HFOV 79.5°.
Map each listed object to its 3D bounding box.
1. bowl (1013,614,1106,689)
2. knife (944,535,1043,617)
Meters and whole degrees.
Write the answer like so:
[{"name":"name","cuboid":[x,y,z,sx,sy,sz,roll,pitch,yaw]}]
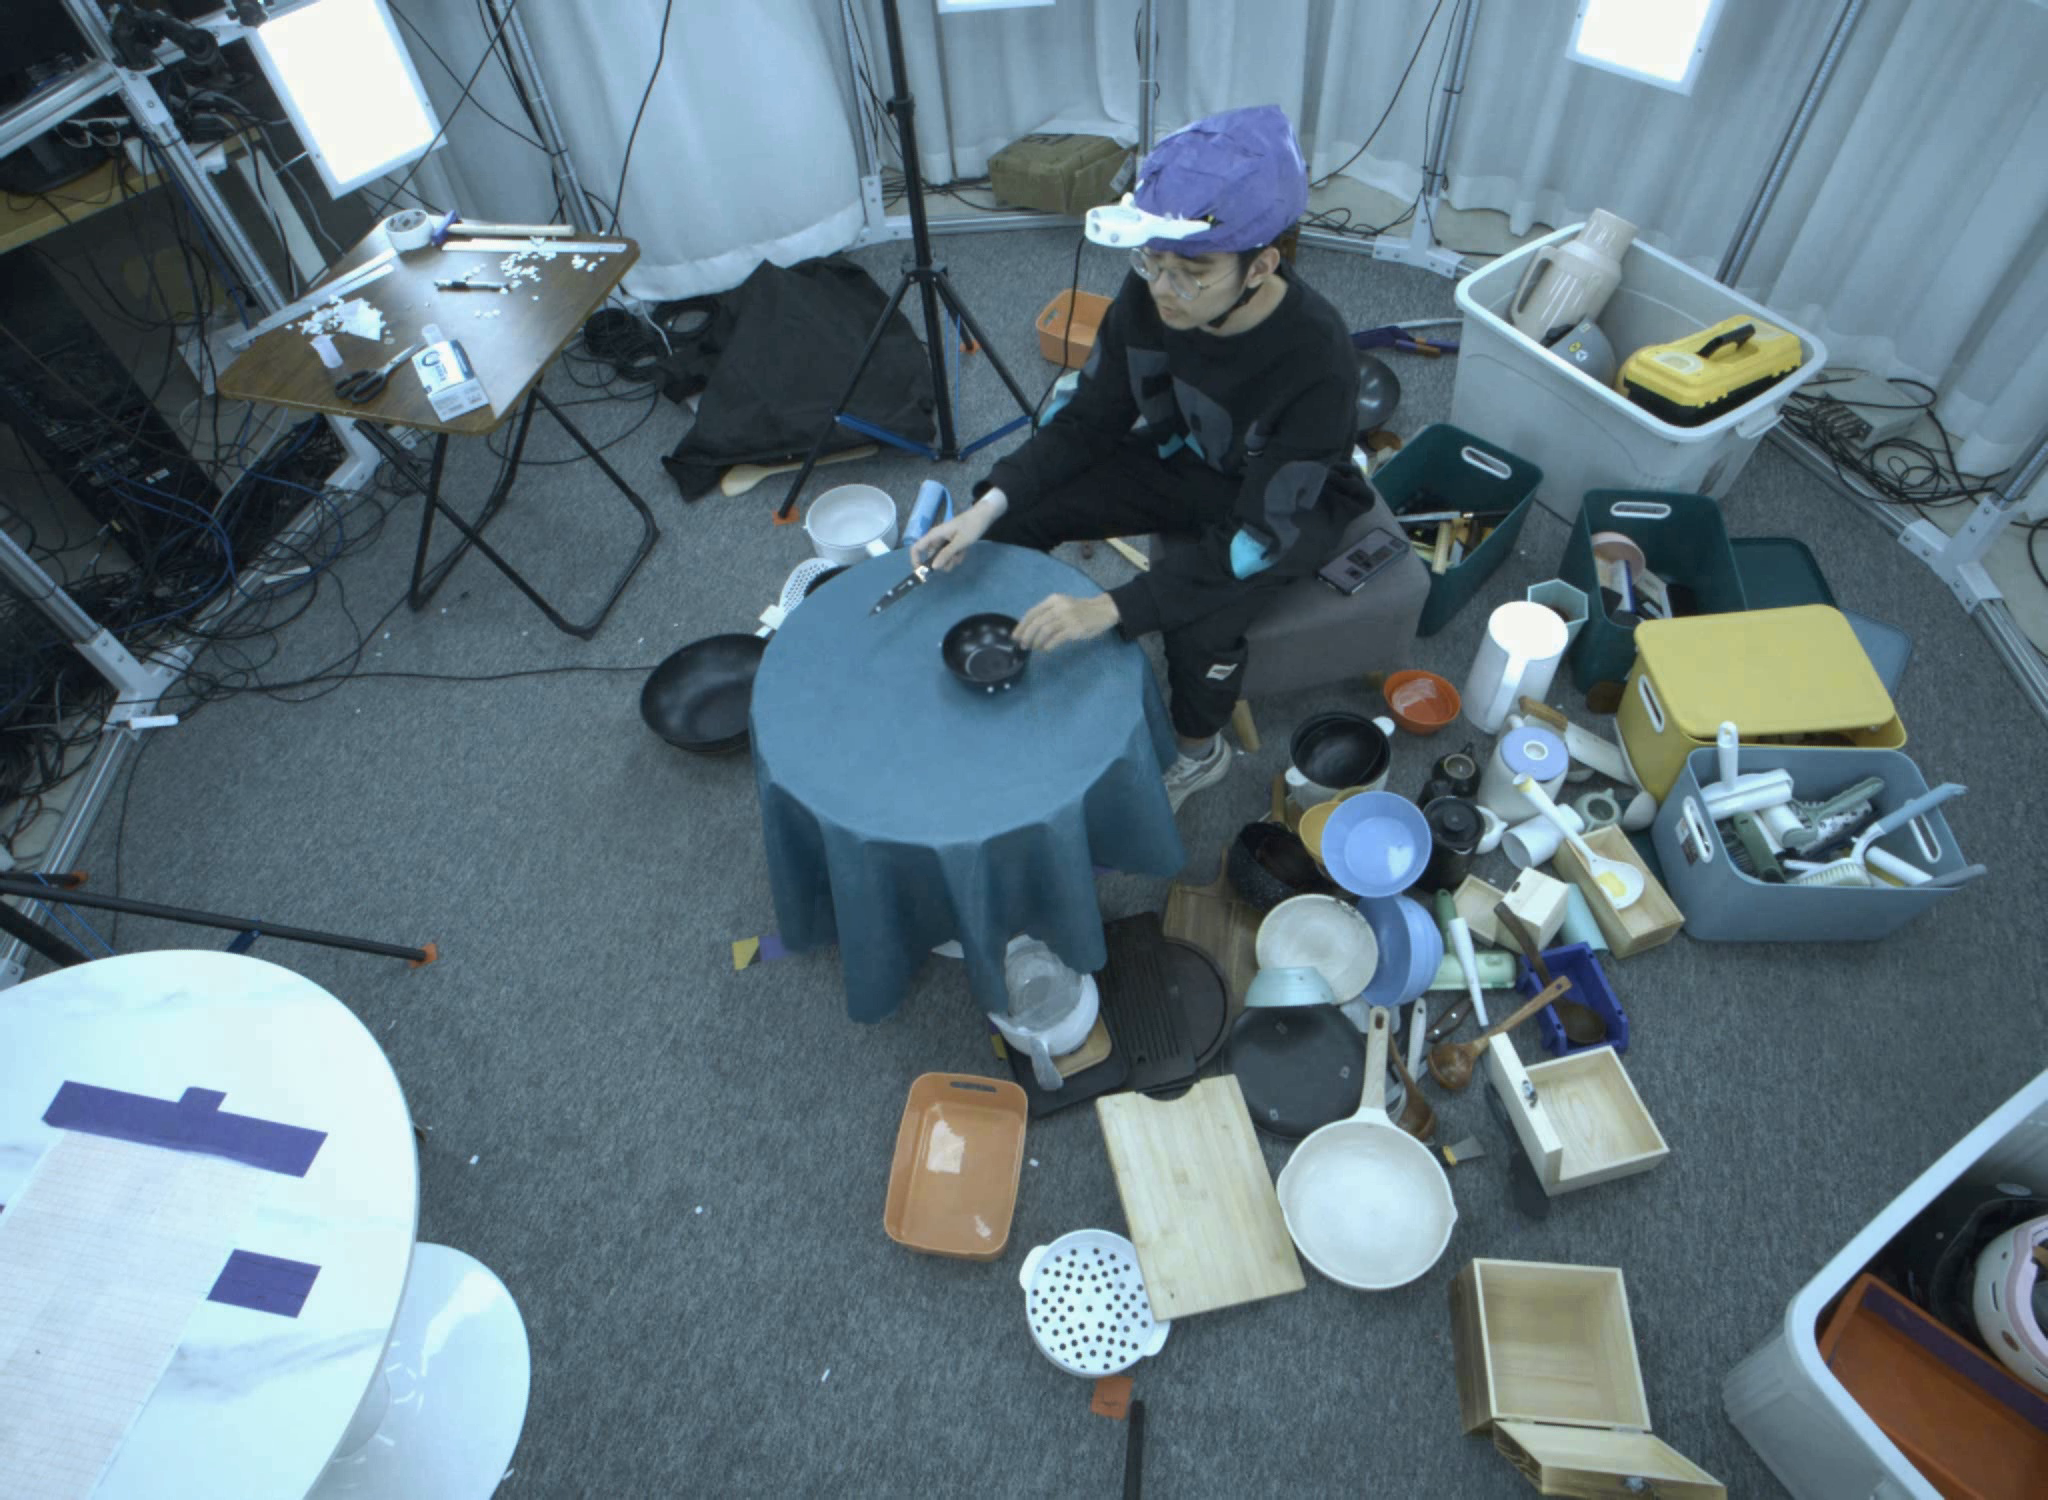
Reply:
[{"name":"bowl","cuboid":[0.054,-0.140,1.857,0.140,0.050,0.138,0,51,1]},{"name":"knife","cuboid":[-0.050,-0.275,1.919,0.227,0.017,0.026,-41,92,-27]}]
